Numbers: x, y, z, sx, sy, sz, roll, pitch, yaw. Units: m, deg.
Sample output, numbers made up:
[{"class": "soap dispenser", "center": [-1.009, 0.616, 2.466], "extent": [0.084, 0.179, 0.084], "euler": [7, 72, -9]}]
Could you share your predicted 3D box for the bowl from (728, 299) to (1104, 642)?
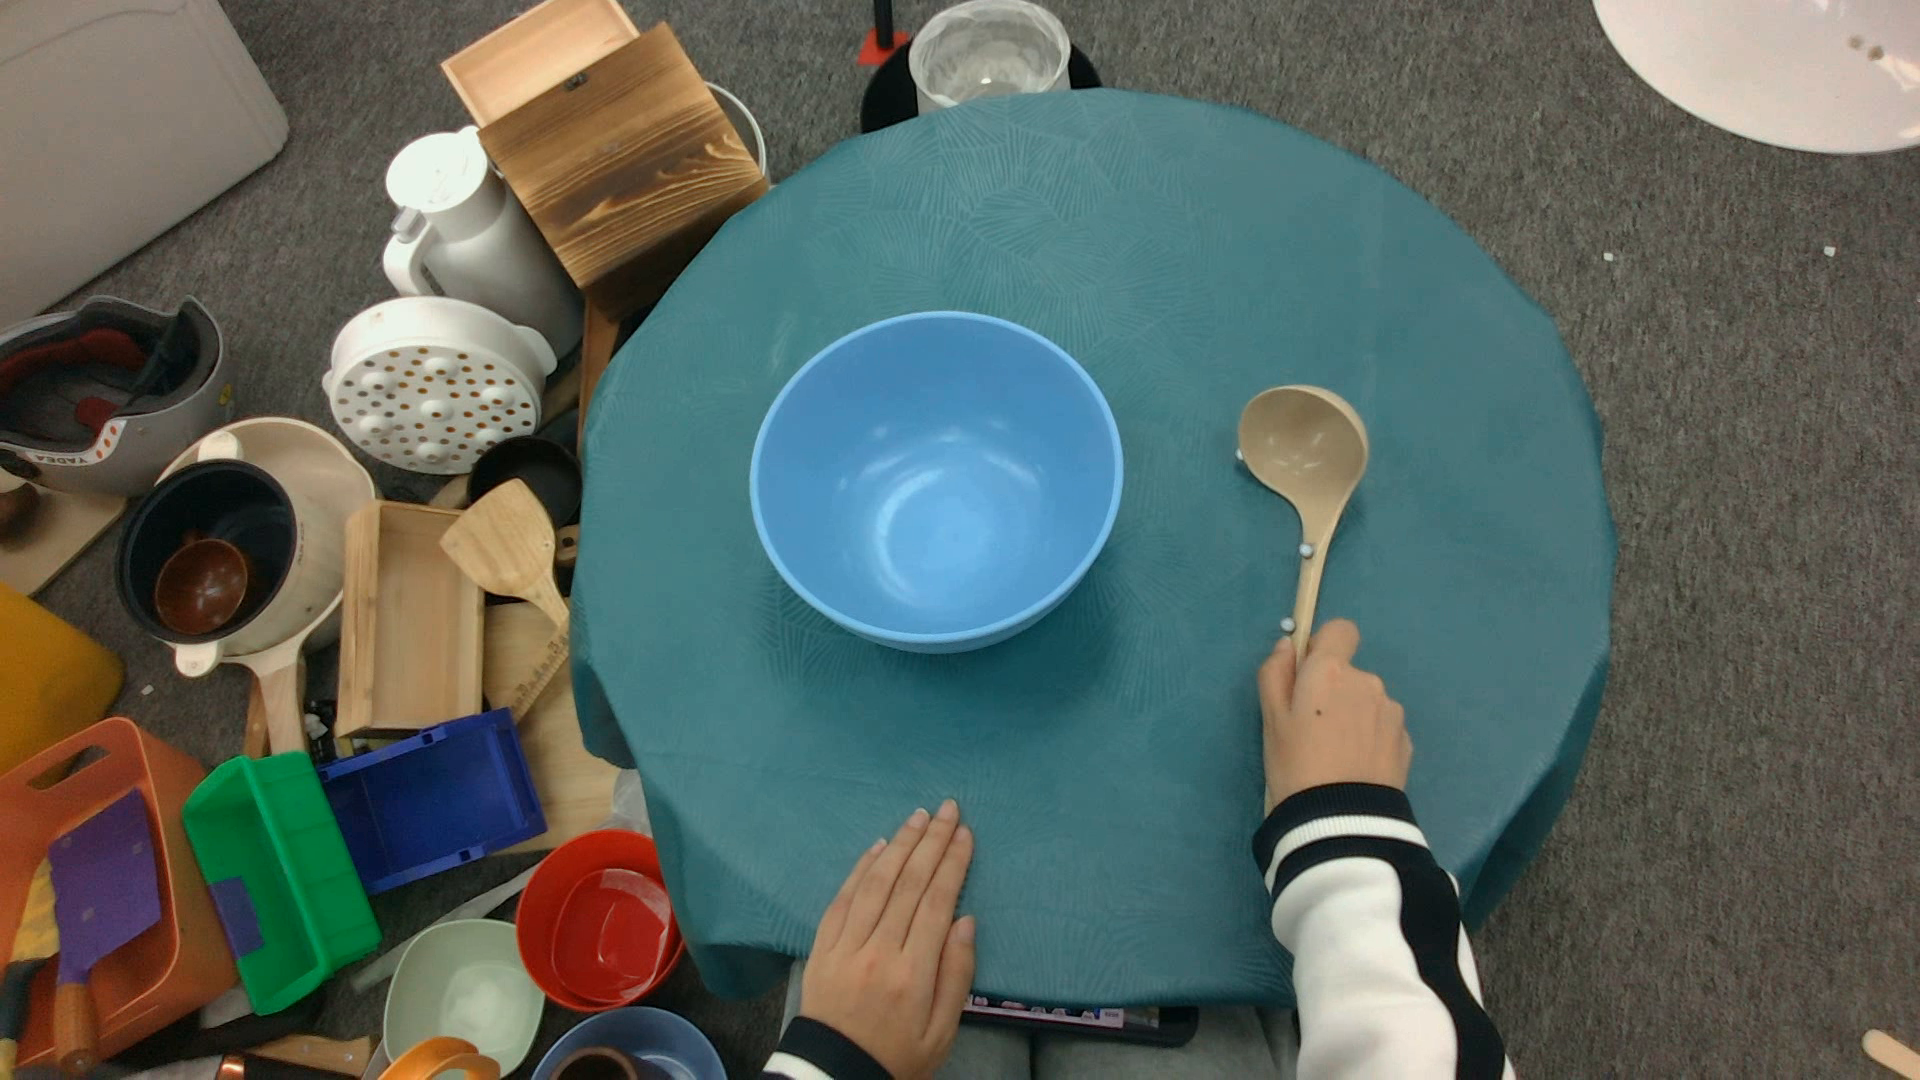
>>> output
[{"class": "bowl", "center": [-0.022, -0.025, 0.759], "extent": [0.196, 0.095, 0.197], "euler": [0, 65, 1]}]

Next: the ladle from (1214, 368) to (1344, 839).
[{"class": "ladle", "center": [0.160, 0.024, 0.731], "extent": [0.072, 0.073, 0.255], "euler": [-10, 56, 37]}]
